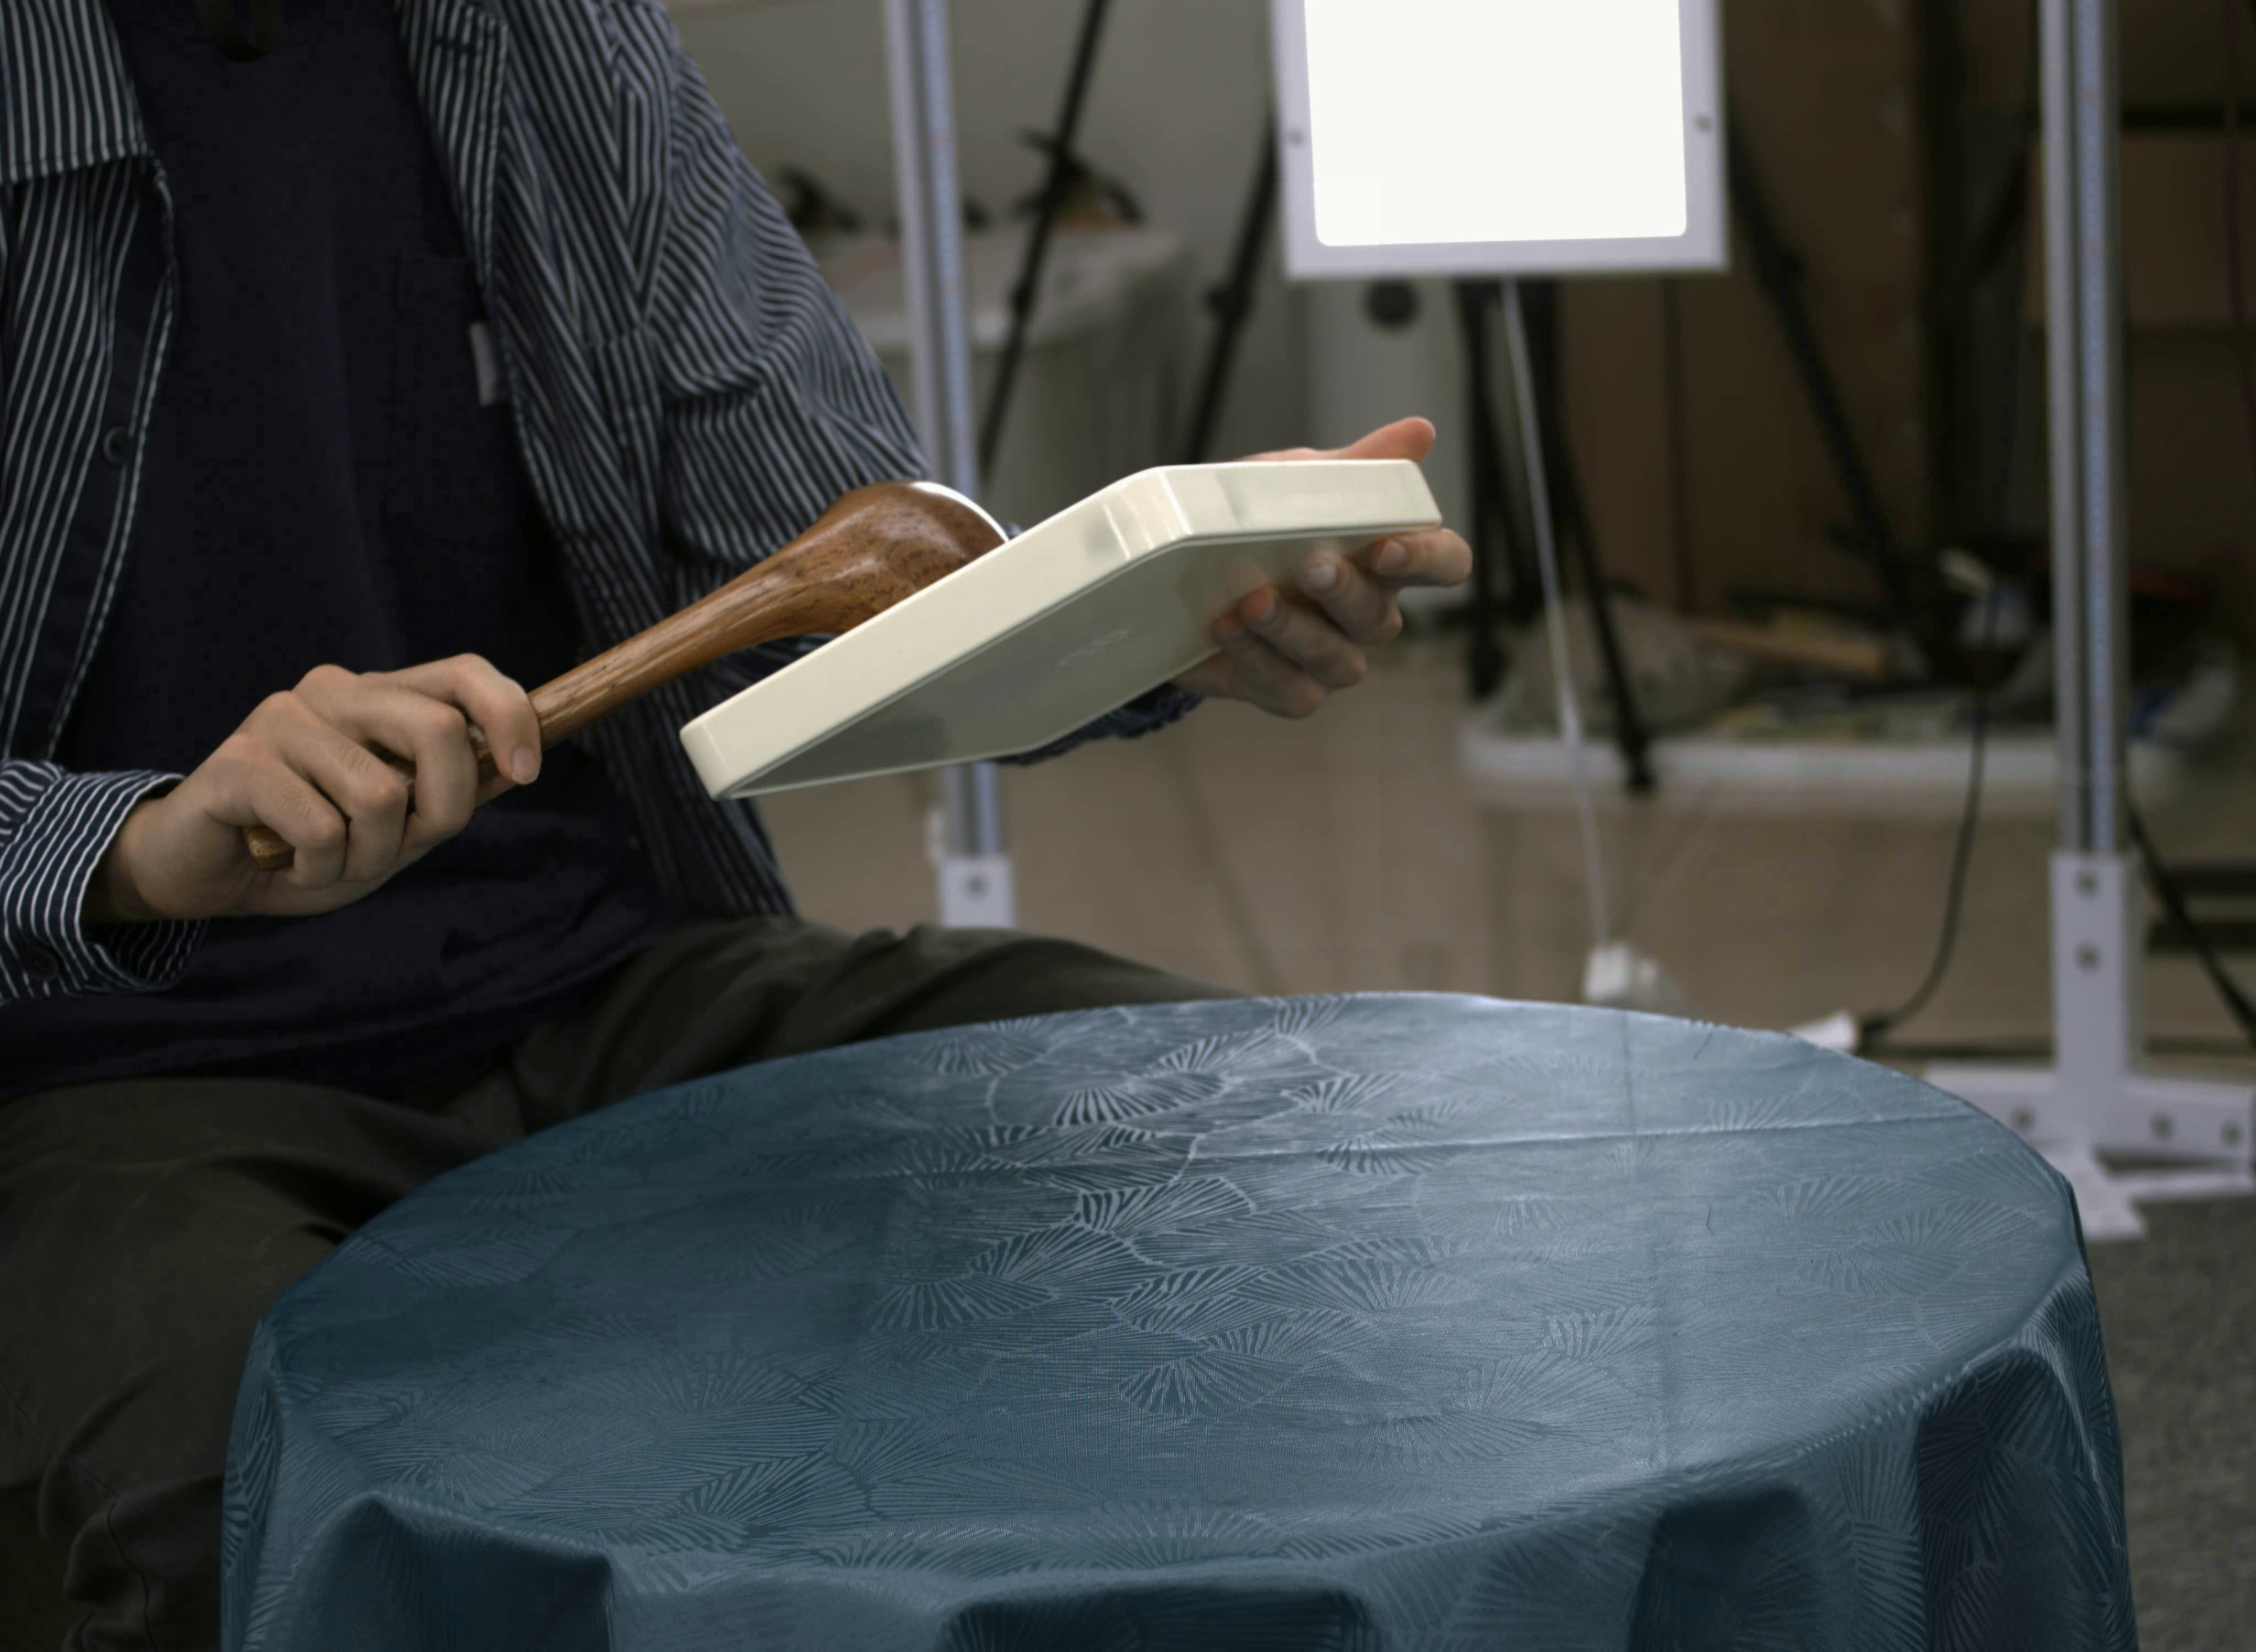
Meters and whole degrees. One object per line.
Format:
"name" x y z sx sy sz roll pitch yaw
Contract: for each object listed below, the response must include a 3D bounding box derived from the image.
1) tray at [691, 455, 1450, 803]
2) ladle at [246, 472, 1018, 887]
"tray" -0.013 -0.070 1.888 0.194 0.027 0.295 -29 -7 22
"ladle" -0.162 -0.038 1.854 0.274 0.076 0.082 -28 52 1
